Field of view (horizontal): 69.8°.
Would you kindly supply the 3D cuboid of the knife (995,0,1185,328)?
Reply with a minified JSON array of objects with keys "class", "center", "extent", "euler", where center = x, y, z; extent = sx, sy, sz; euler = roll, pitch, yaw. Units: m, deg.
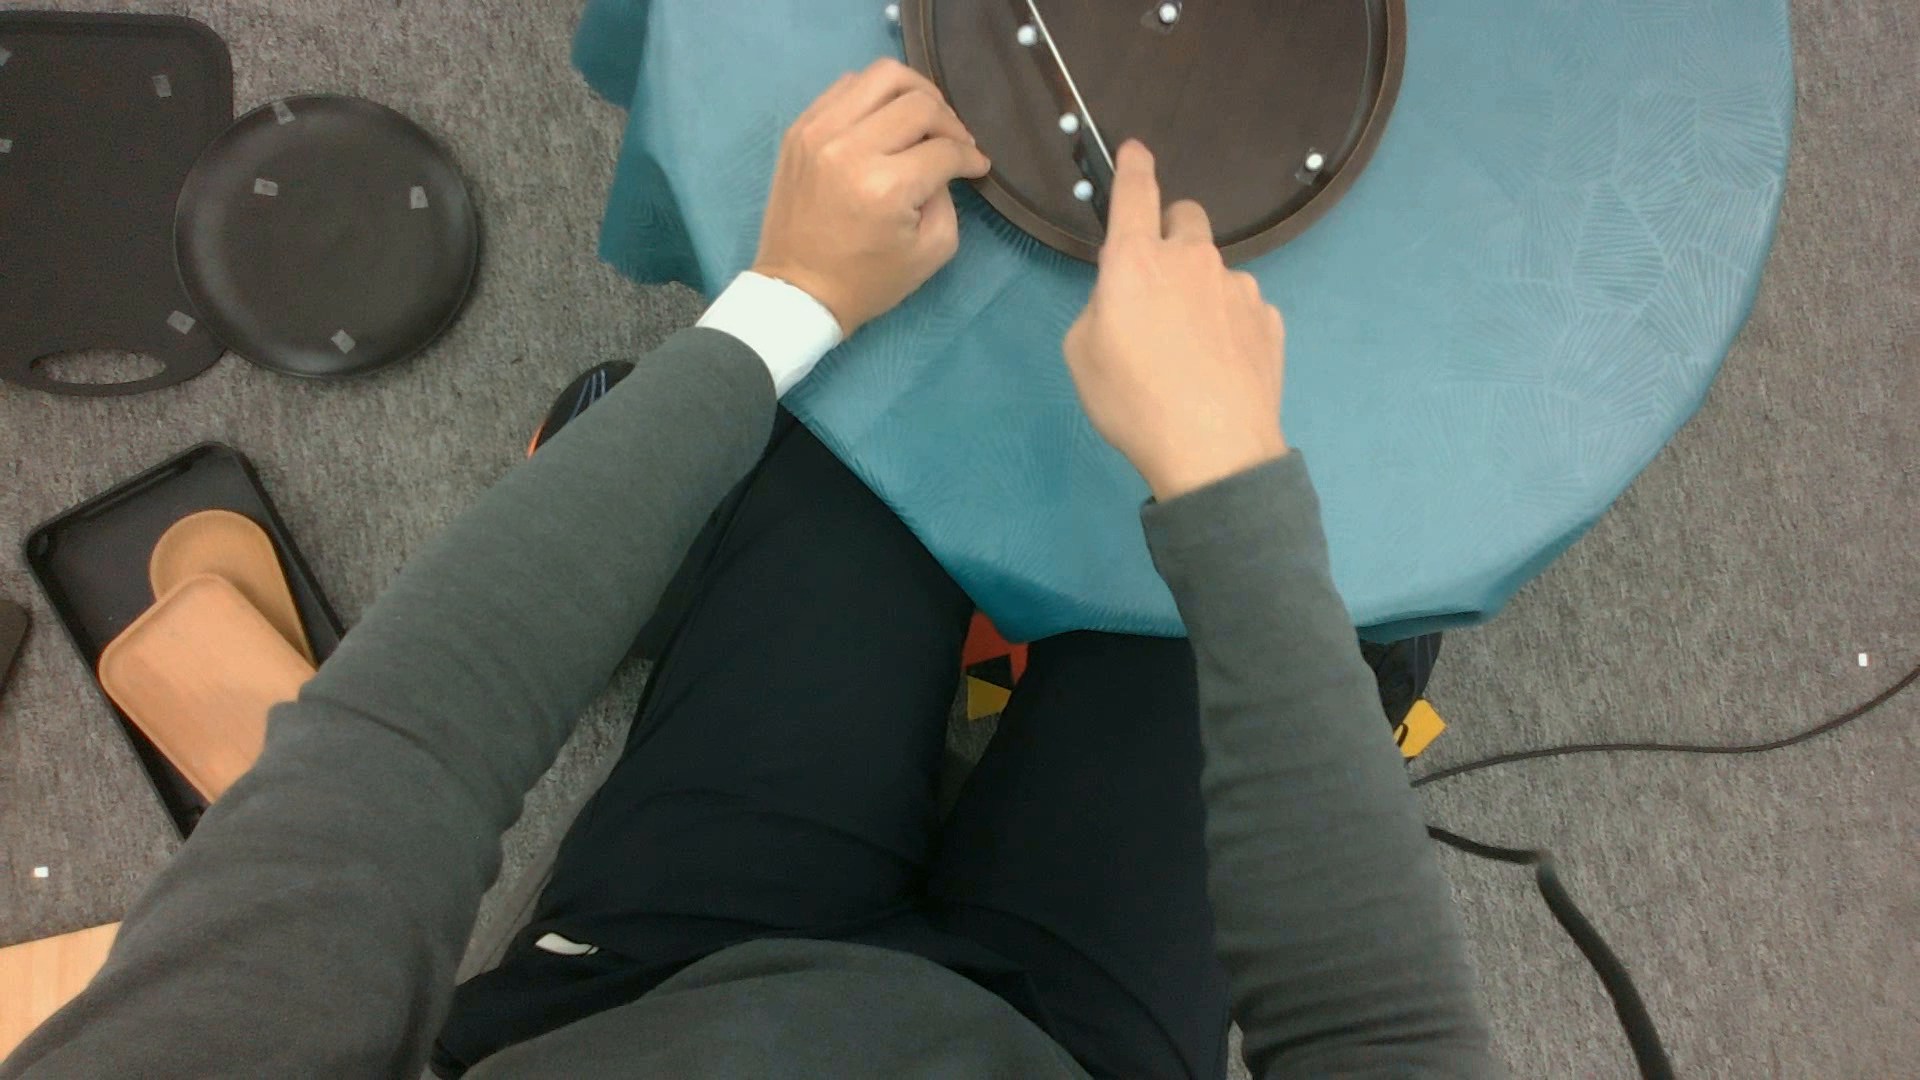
[{"class":"knife","center":[0.043,-0.196,0.608],"extent":[0.016,0.024,0.238],"euler":[-22,72,-5]}]

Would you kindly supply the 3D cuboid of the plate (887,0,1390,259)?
[{"class":"plate","center":[0.090,-0.263,0.686],"extent":[0.255,0.029,0.255],"euler":[1,86,-7]}]
